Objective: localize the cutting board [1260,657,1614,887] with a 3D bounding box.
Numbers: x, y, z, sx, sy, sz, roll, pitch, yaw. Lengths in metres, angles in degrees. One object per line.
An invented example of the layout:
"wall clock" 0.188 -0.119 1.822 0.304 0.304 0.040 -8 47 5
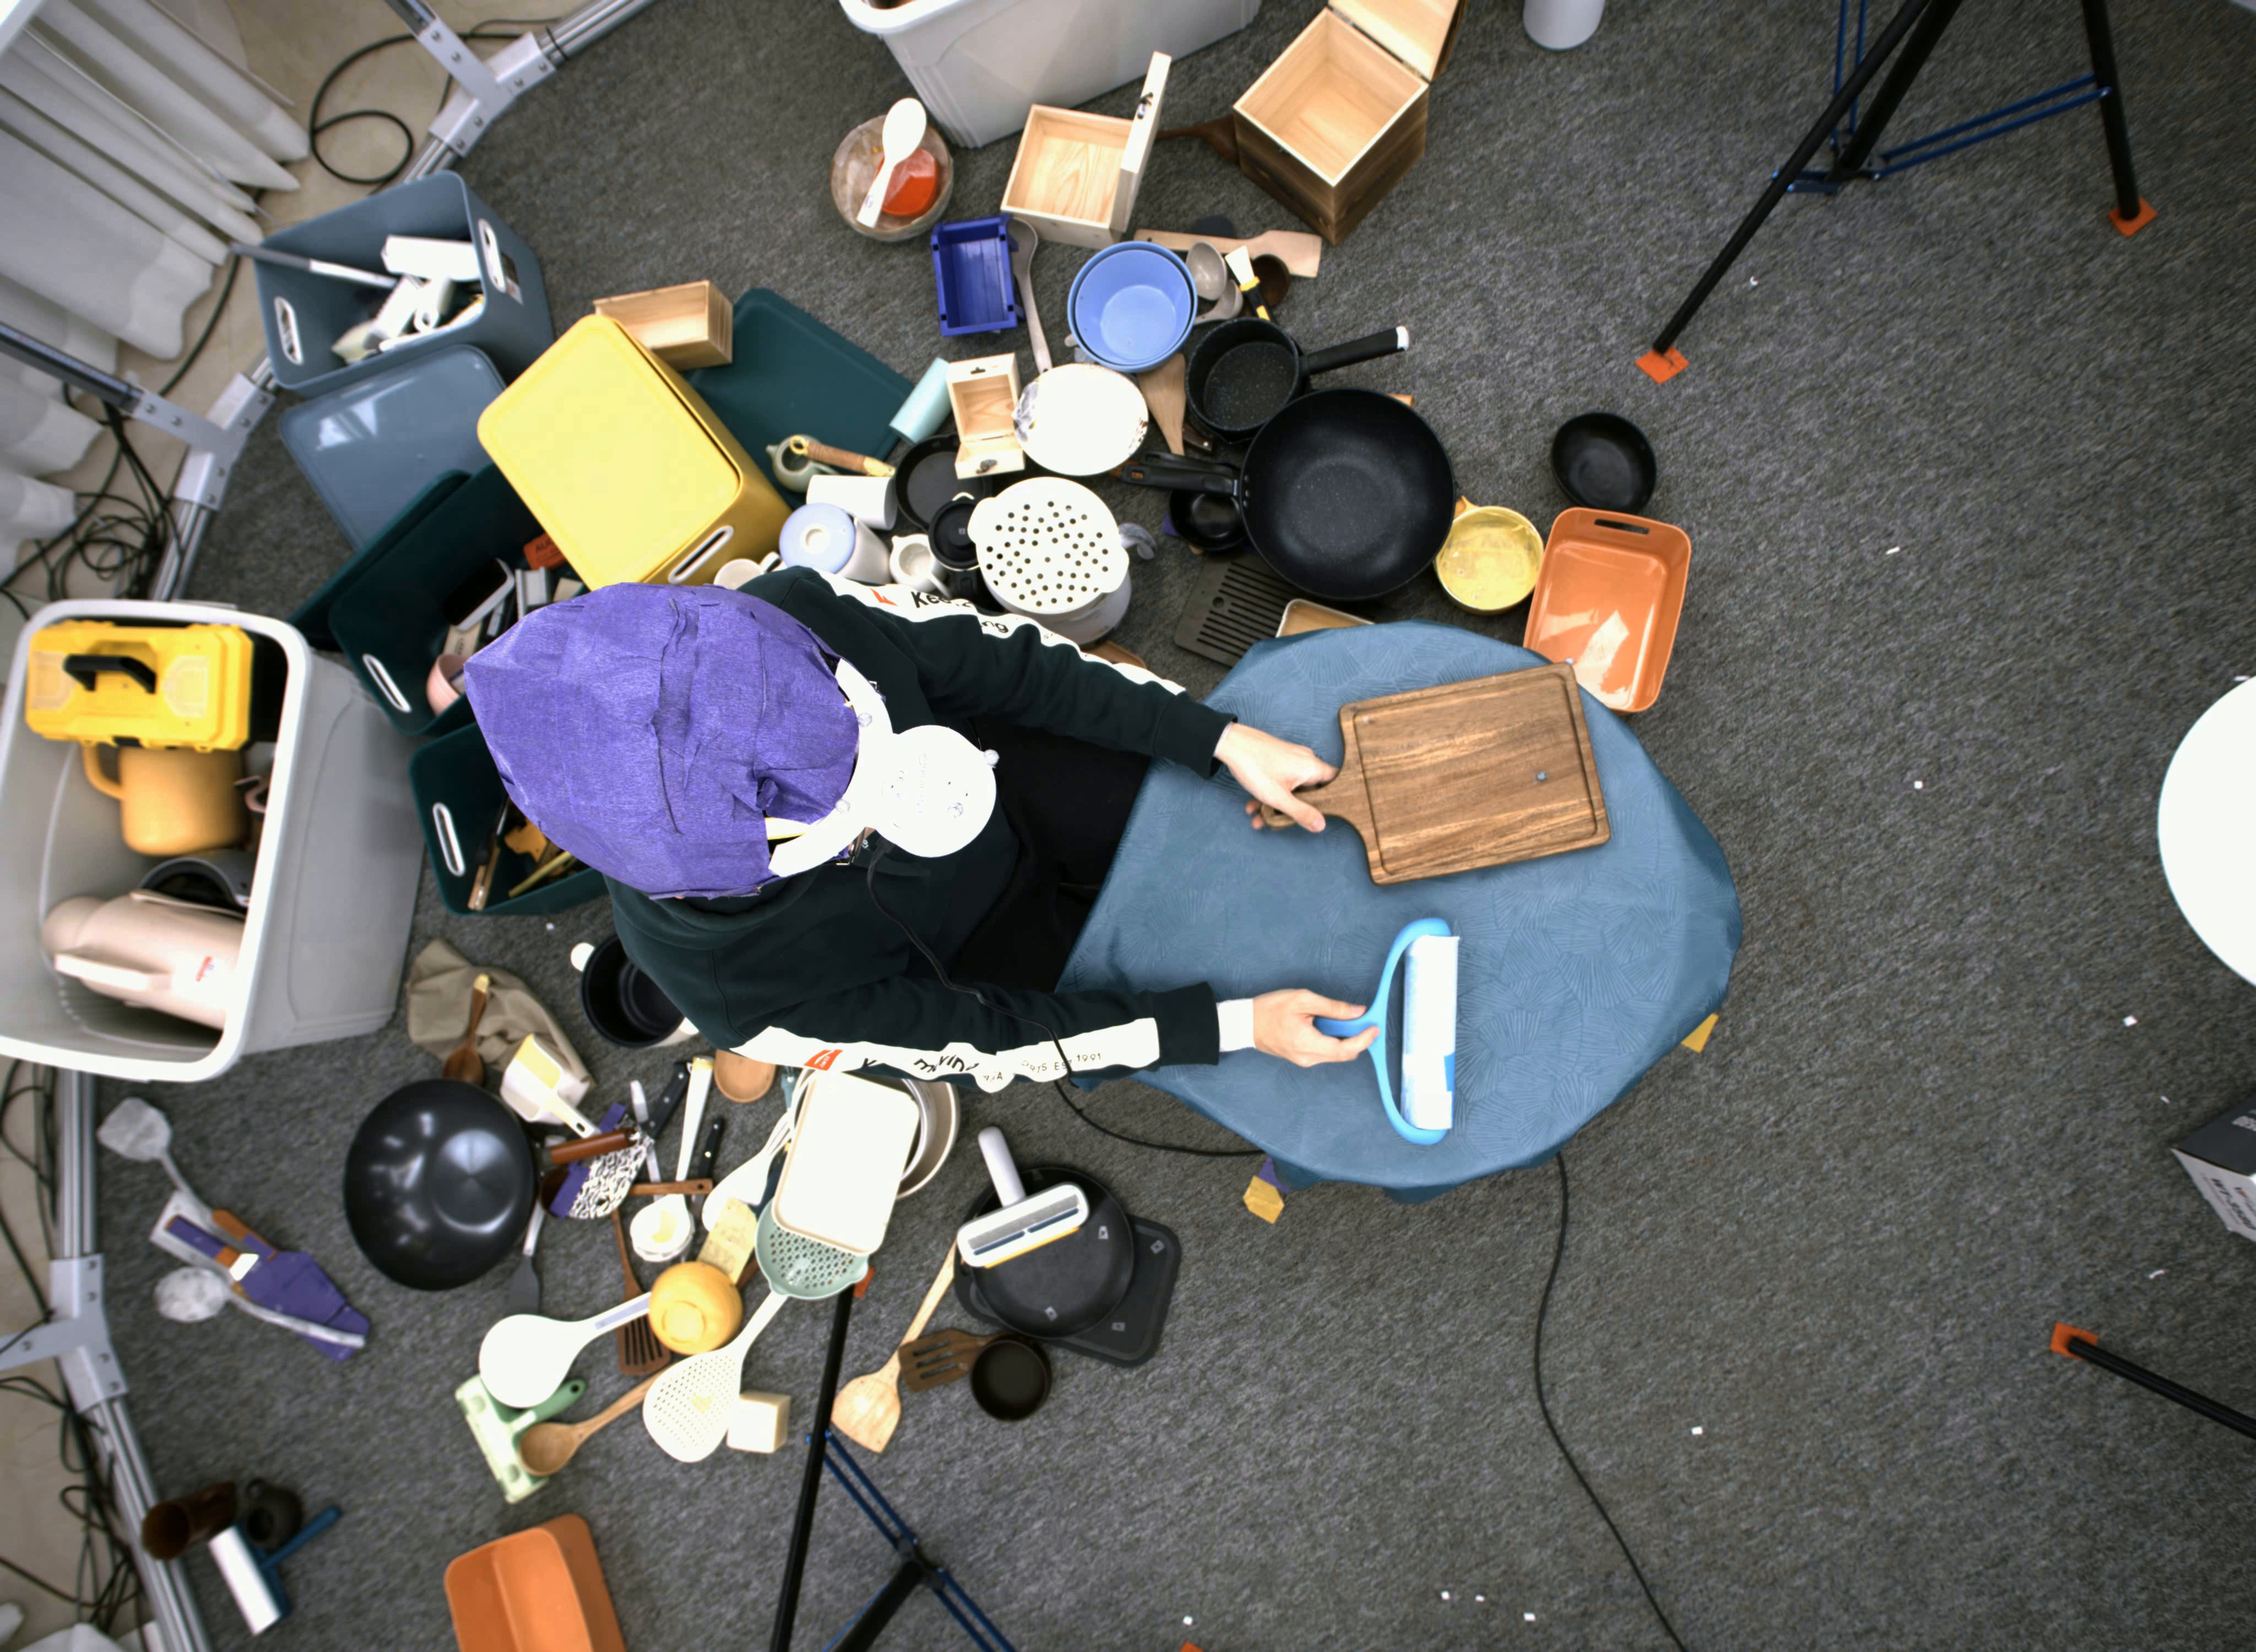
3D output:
"cutting board" 0.310 -0.048 1.430 0.353 0.023 0.200 -11 86 5

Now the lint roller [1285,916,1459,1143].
"lint roller" 0.250 0.207 1.413 0.181 0.068 0.228 -2 90 10
